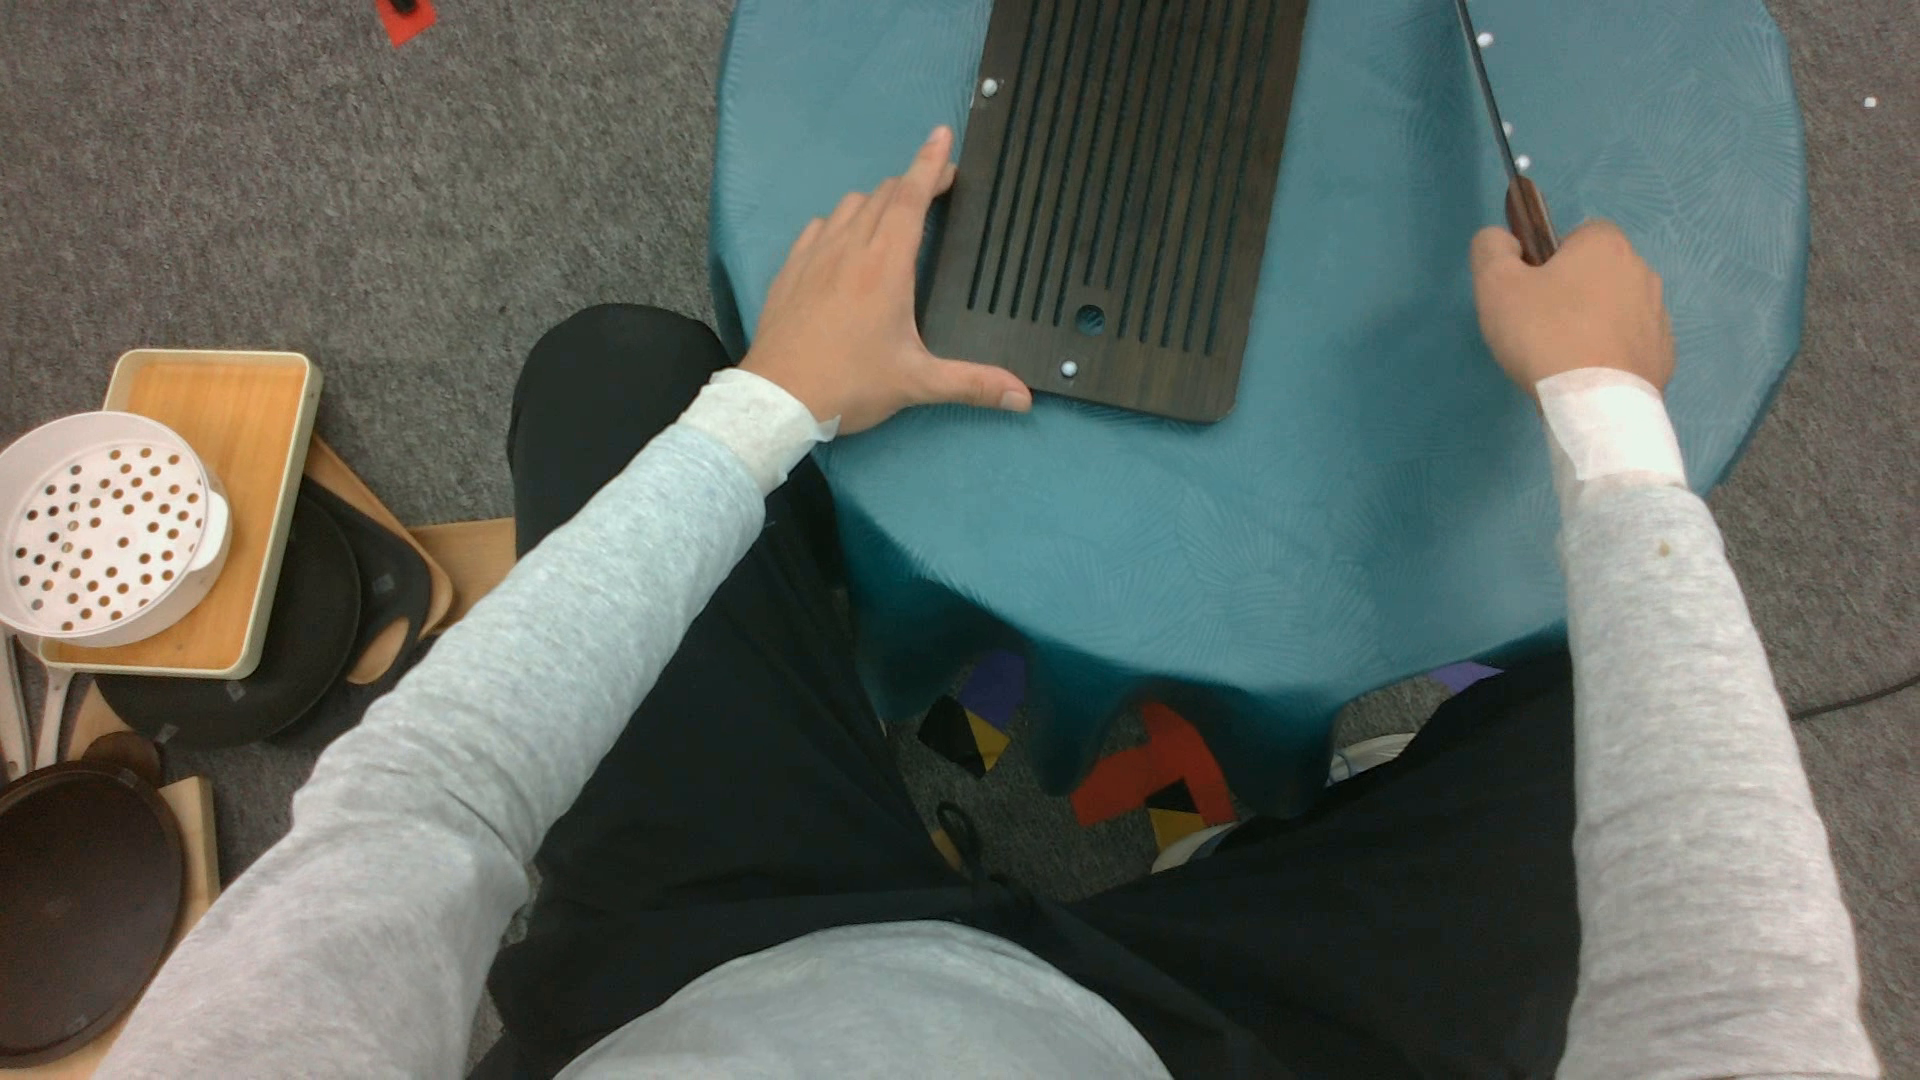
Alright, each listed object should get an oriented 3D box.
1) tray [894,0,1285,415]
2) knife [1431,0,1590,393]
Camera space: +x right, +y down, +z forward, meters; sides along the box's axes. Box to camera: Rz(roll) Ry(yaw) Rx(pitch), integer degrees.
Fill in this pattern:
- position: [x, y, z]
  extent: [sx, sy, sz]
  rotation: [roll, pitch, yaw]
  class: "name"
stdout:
- position: [0.077, -0.226, 0.752]
  extent: [0.170, 0.018, 0.306]
  rotation: [12, 79, 2]
  class: "tray"
- position: [0.274, -0.199, 0.712]
  extent: [0.020, 0.050, 0.290]
  rotation: [-15, 63, 18]
  class: "knife"
